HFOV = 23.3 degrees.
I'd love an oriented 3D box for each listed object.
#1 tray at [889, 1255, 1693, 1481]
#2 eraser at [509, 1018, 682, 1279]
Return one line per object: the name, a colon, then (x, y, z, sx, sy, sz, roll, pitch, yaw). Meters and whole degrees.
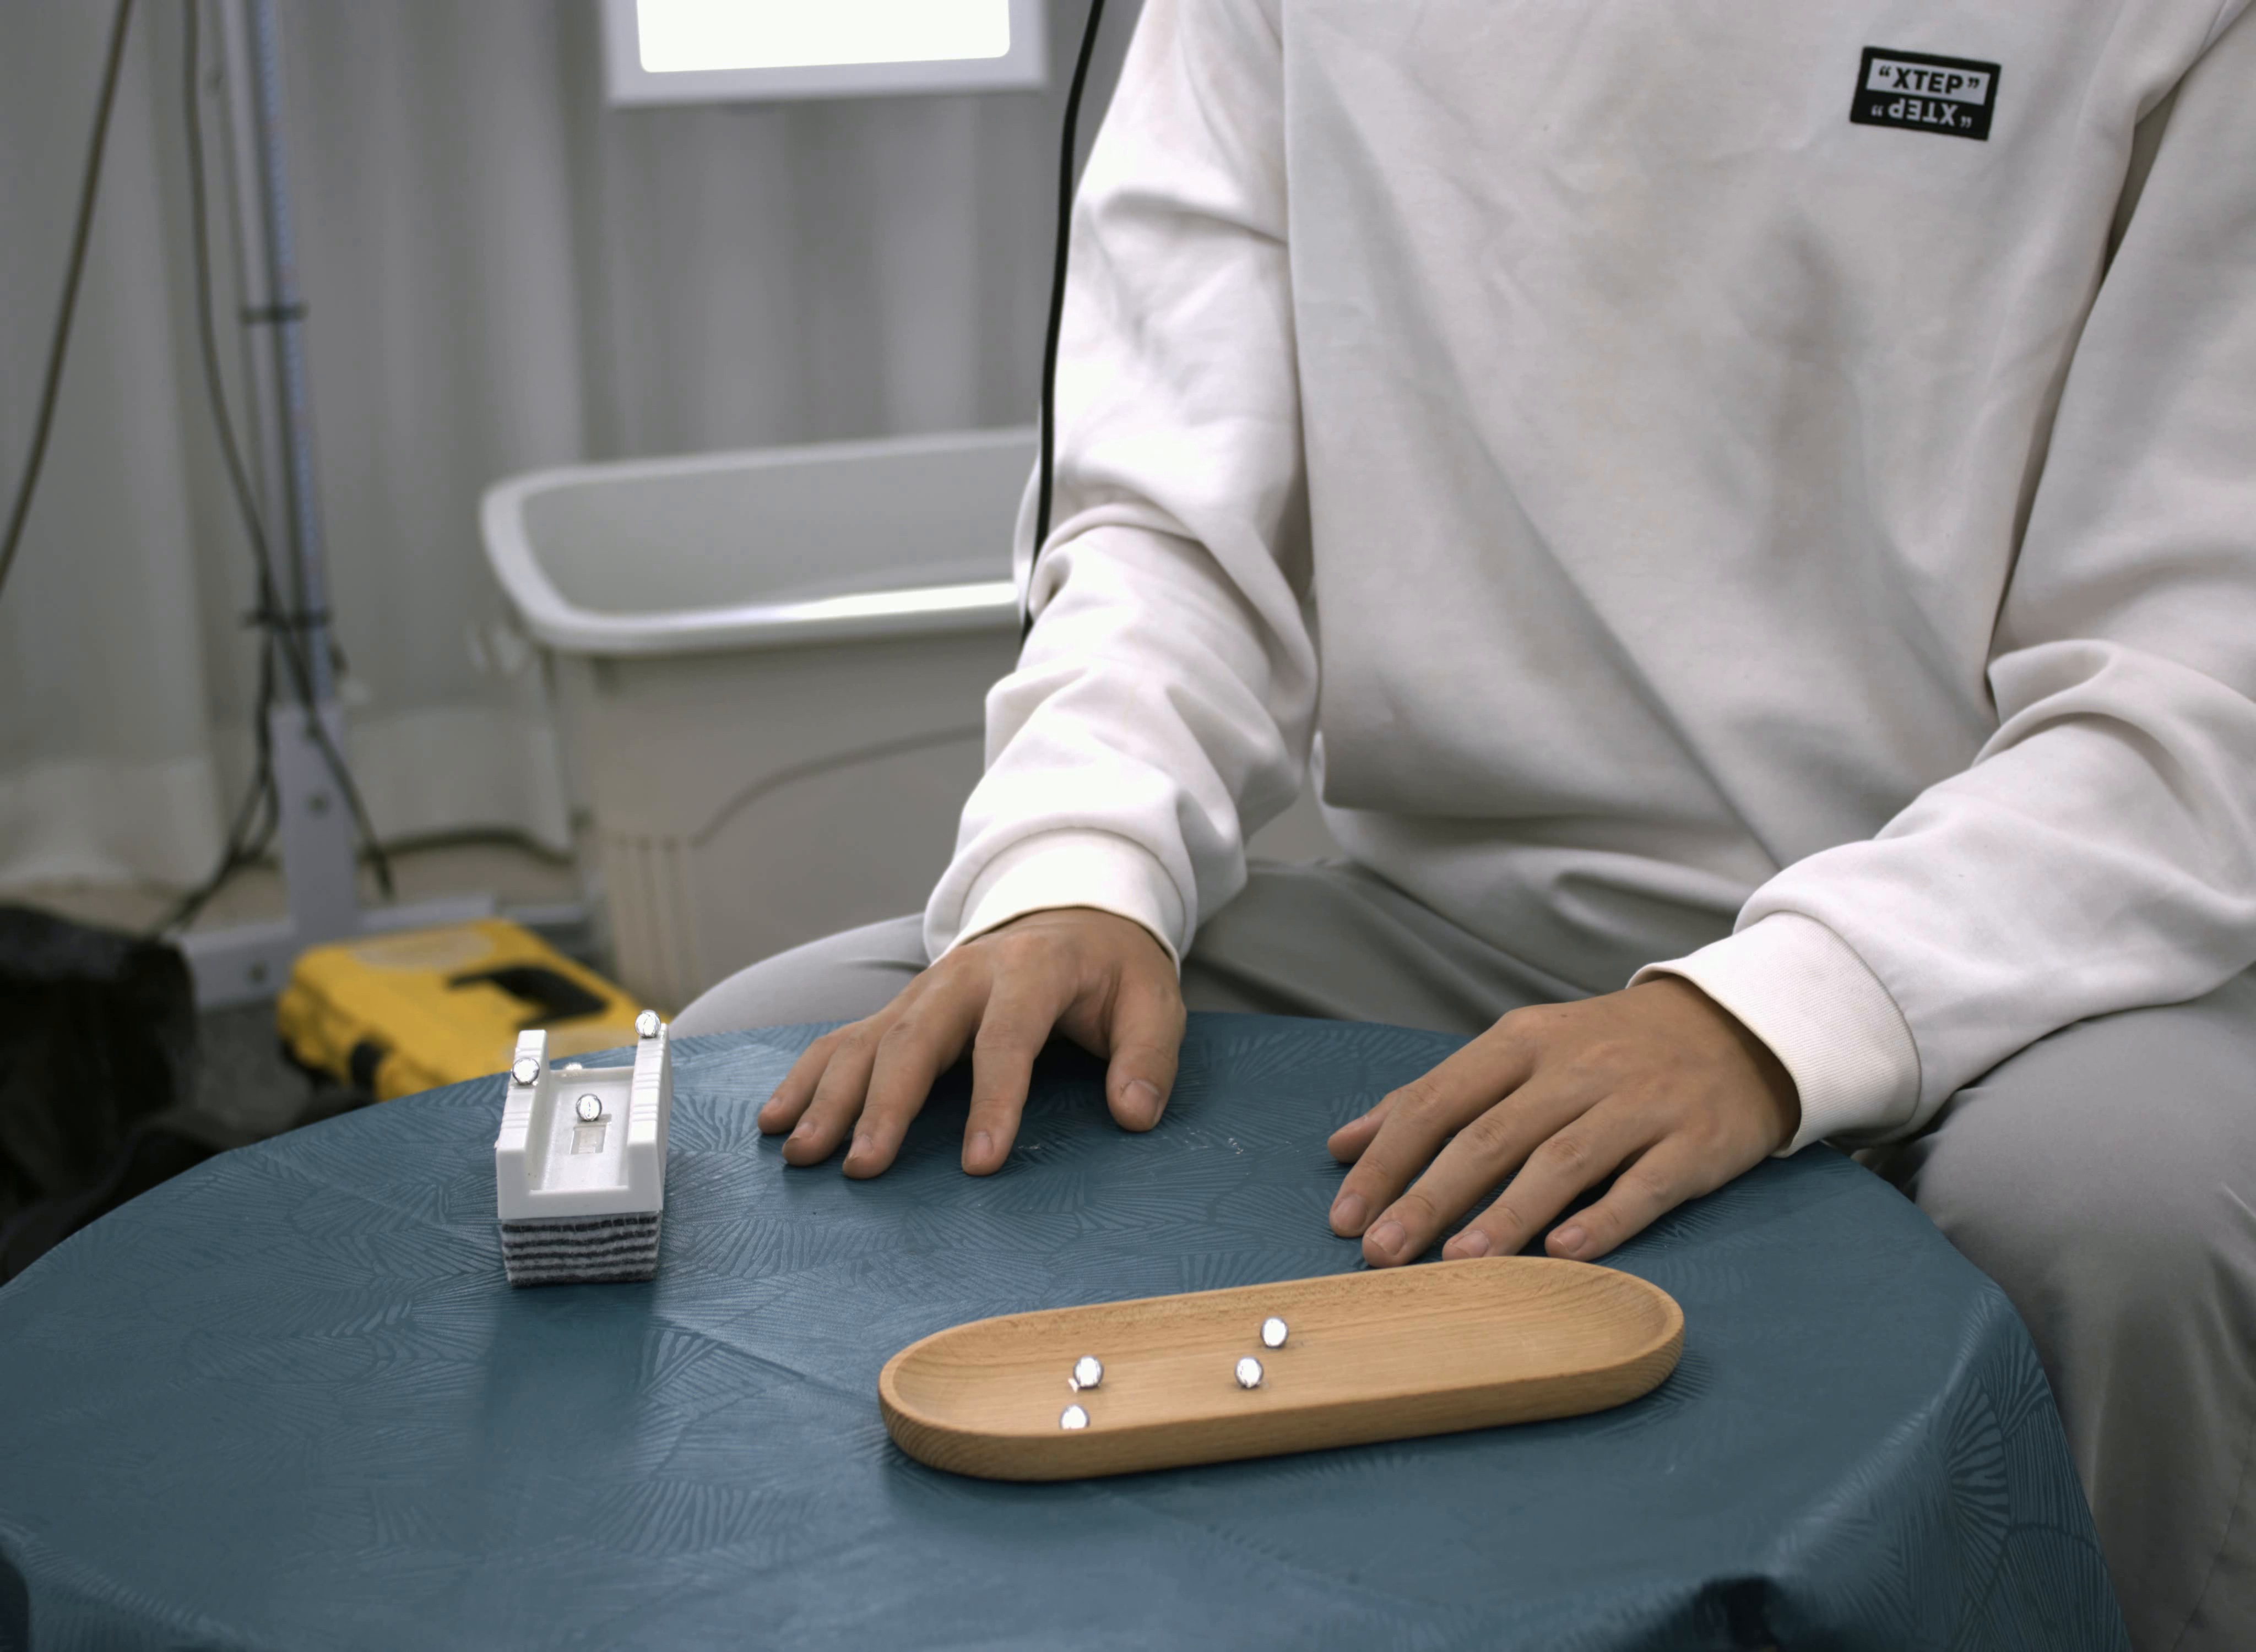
tray: (0.047, 0.152, 1.537, 0.230, 0.020, 0.102, -5, 16, -14)
eraser: (-0.167, 0.100, 1.710, 0.049, 0.046, 0.135, 1, 14, -8)
